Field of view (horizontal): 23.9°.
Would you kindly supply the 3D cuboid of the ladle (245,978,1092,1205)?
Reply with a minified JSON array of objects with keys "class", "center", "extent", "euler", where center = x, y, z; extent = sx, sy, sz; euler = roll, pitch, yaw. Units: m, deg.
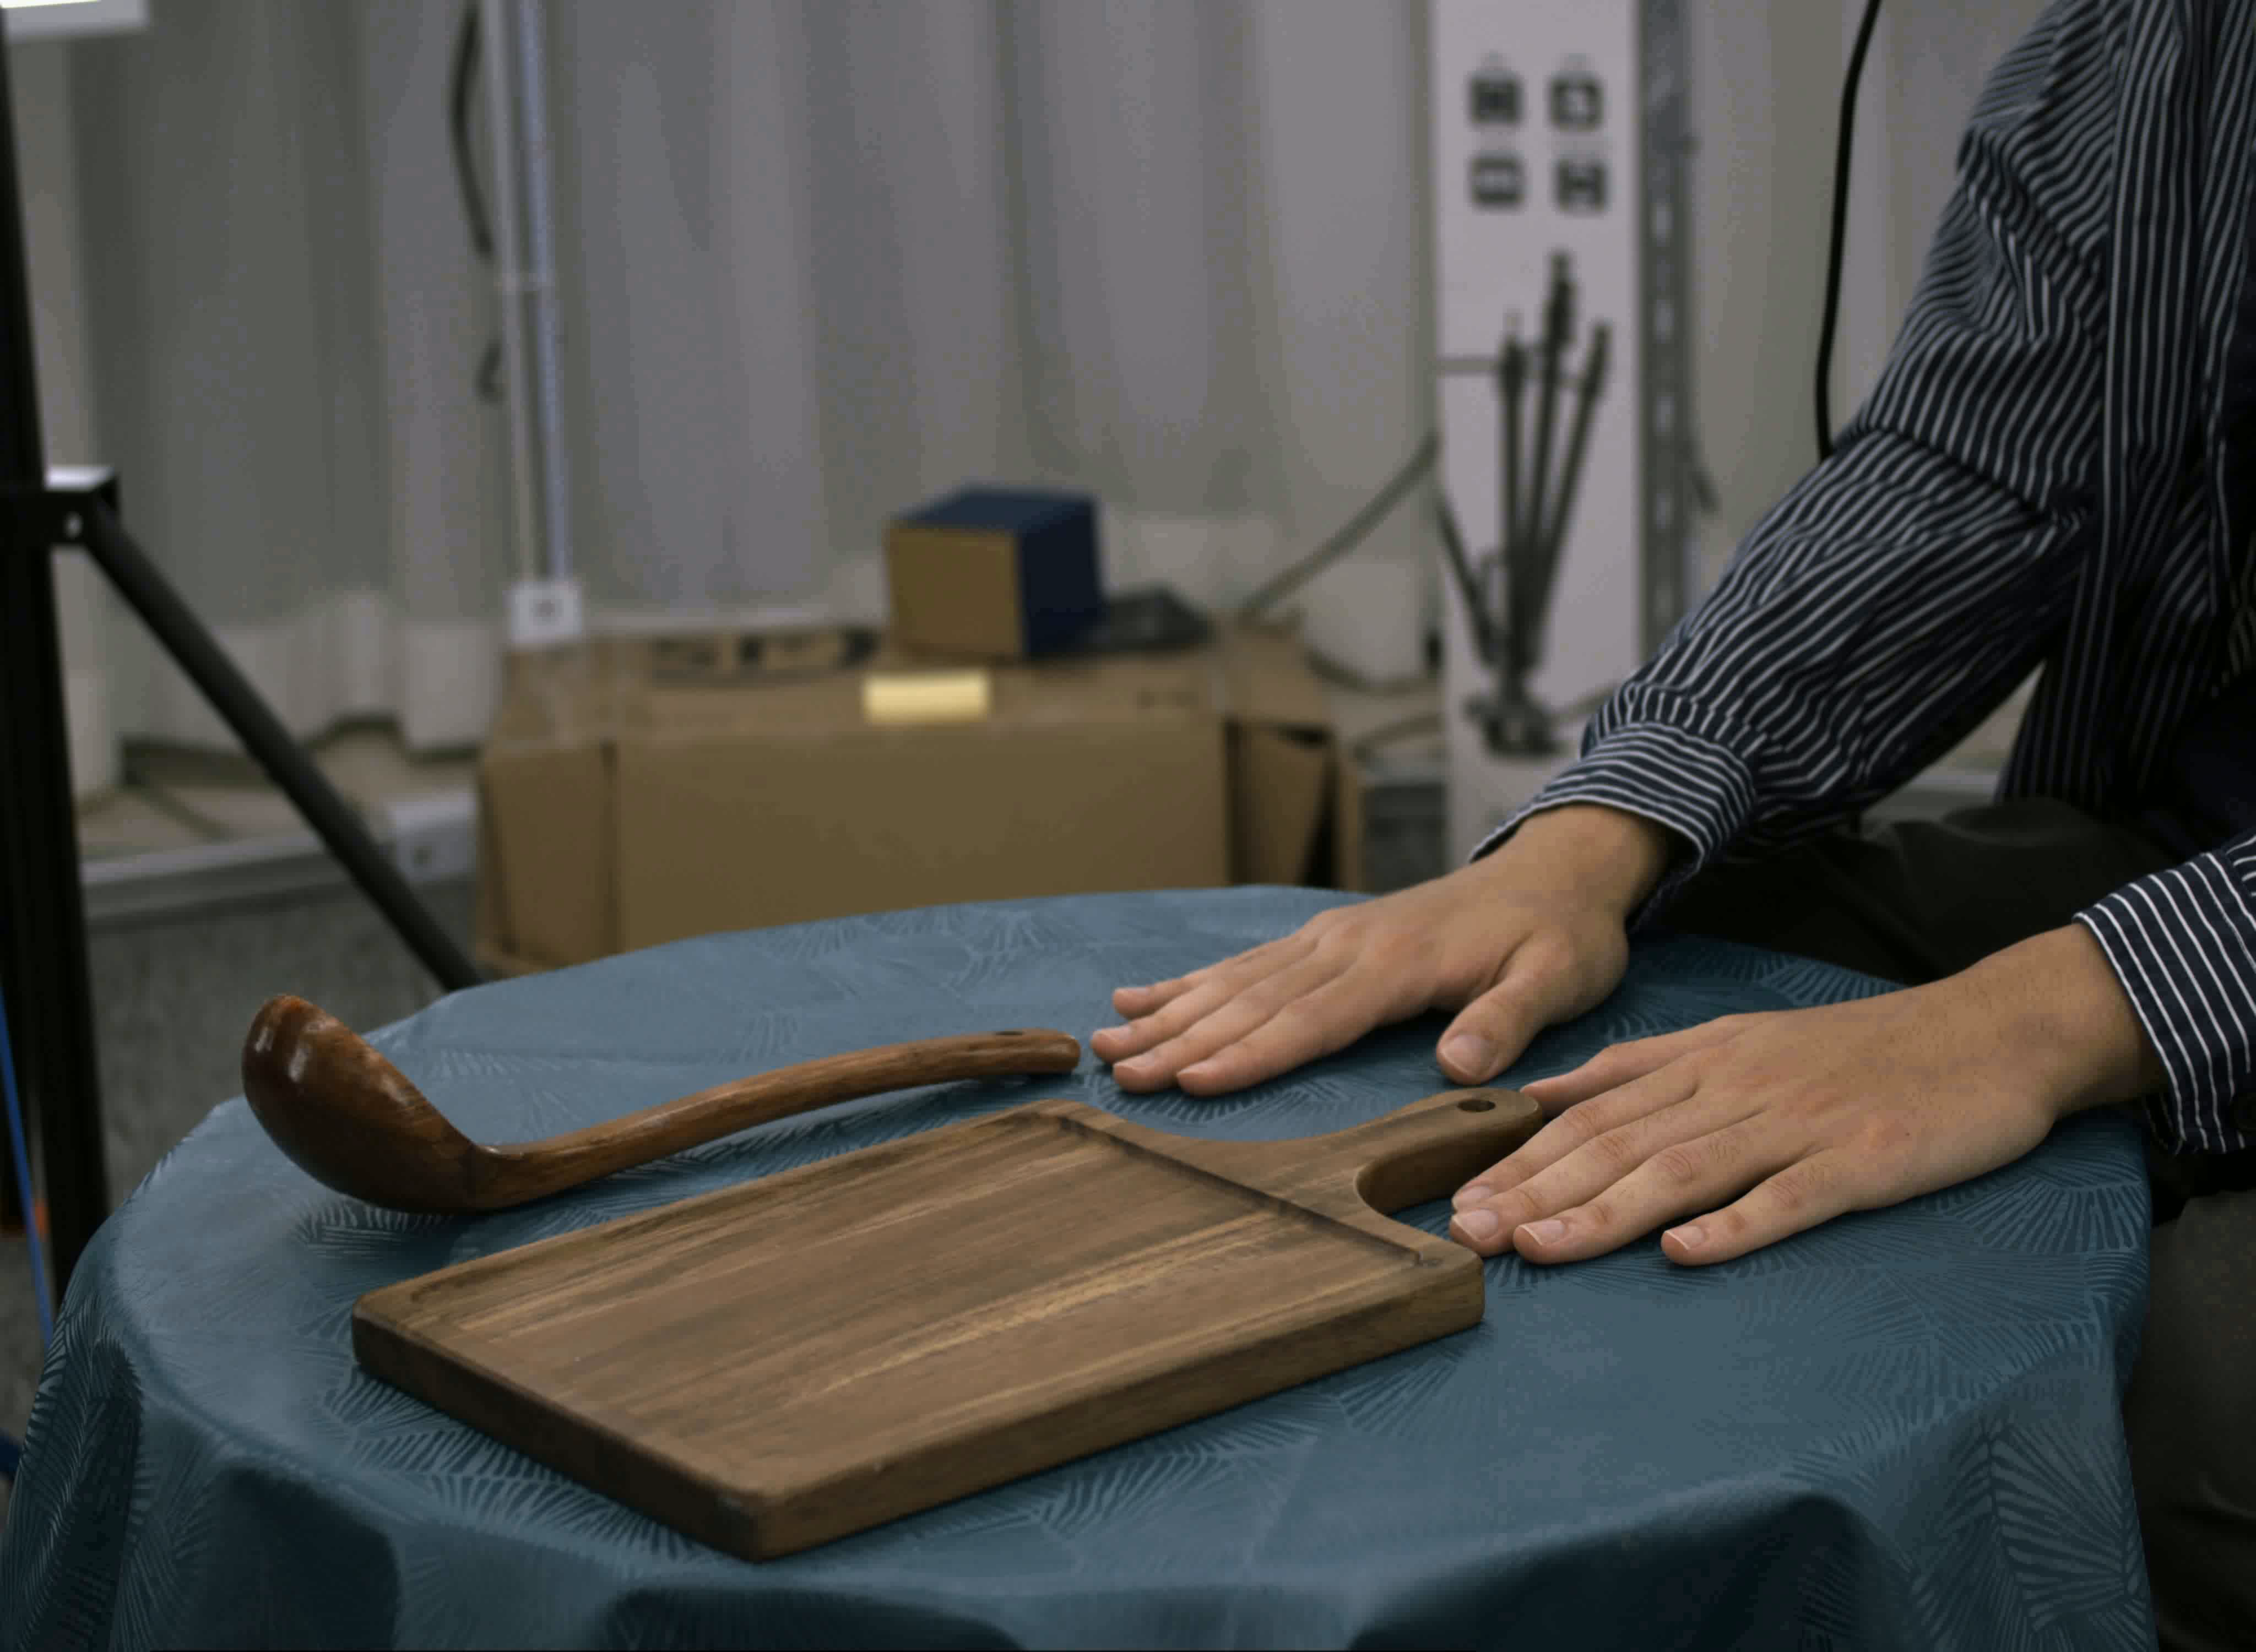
[{"class":"ladle","center":[-0.135,0.061,1.607],"extent":[0.268,0.076,0.083],"euler":[-12,14,-28]}]

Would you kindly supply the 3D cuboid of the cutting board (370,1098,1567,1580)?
[{"class":"cutting board","center":[-0.012,0.125,1.467],"extent":[0.344,0.023,0.206],"euler":[-13,19,-34]}]
